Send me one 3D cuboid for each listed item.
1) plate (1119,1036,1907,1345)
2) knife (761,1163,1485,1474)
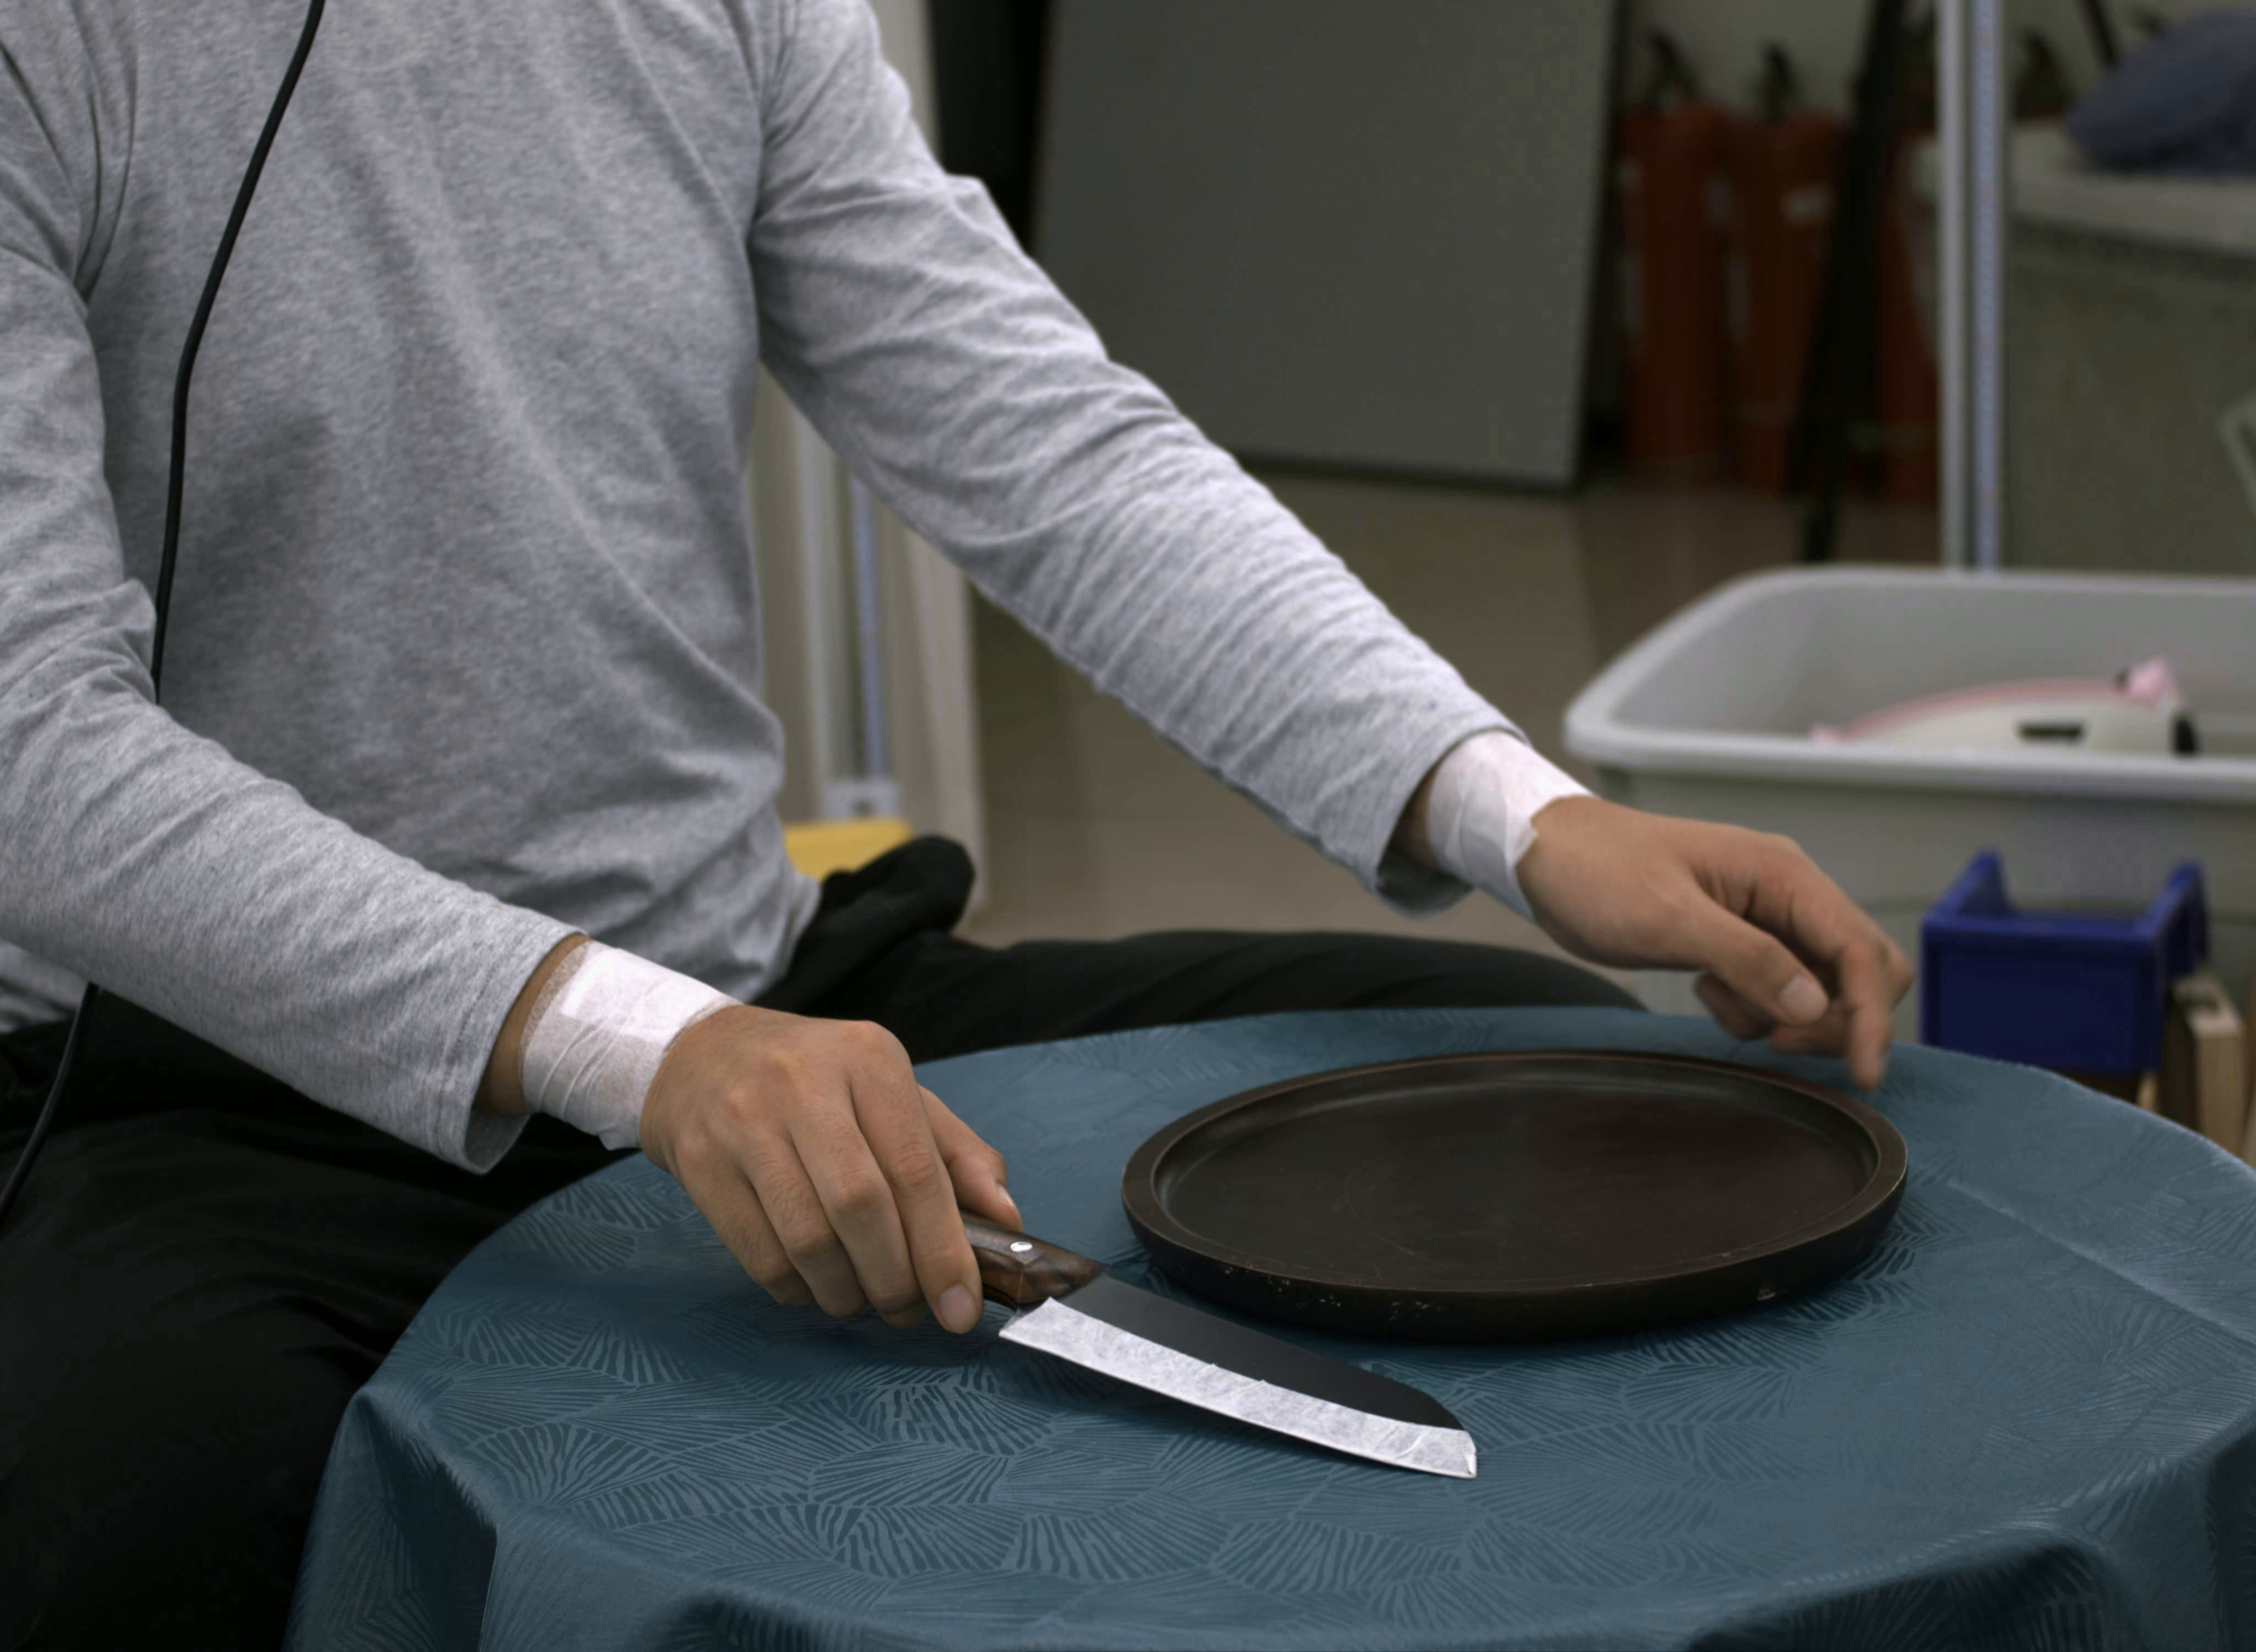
[{"bbox_3d":[0.122,0.116,1.709,0.251,0.029,0.255,-6,14,1],"label":"plate"},{"bbox_3d":[-0.006,0.146,1.594,0.291,0.020,0.049,17,33,41],"label":"knife"}]
